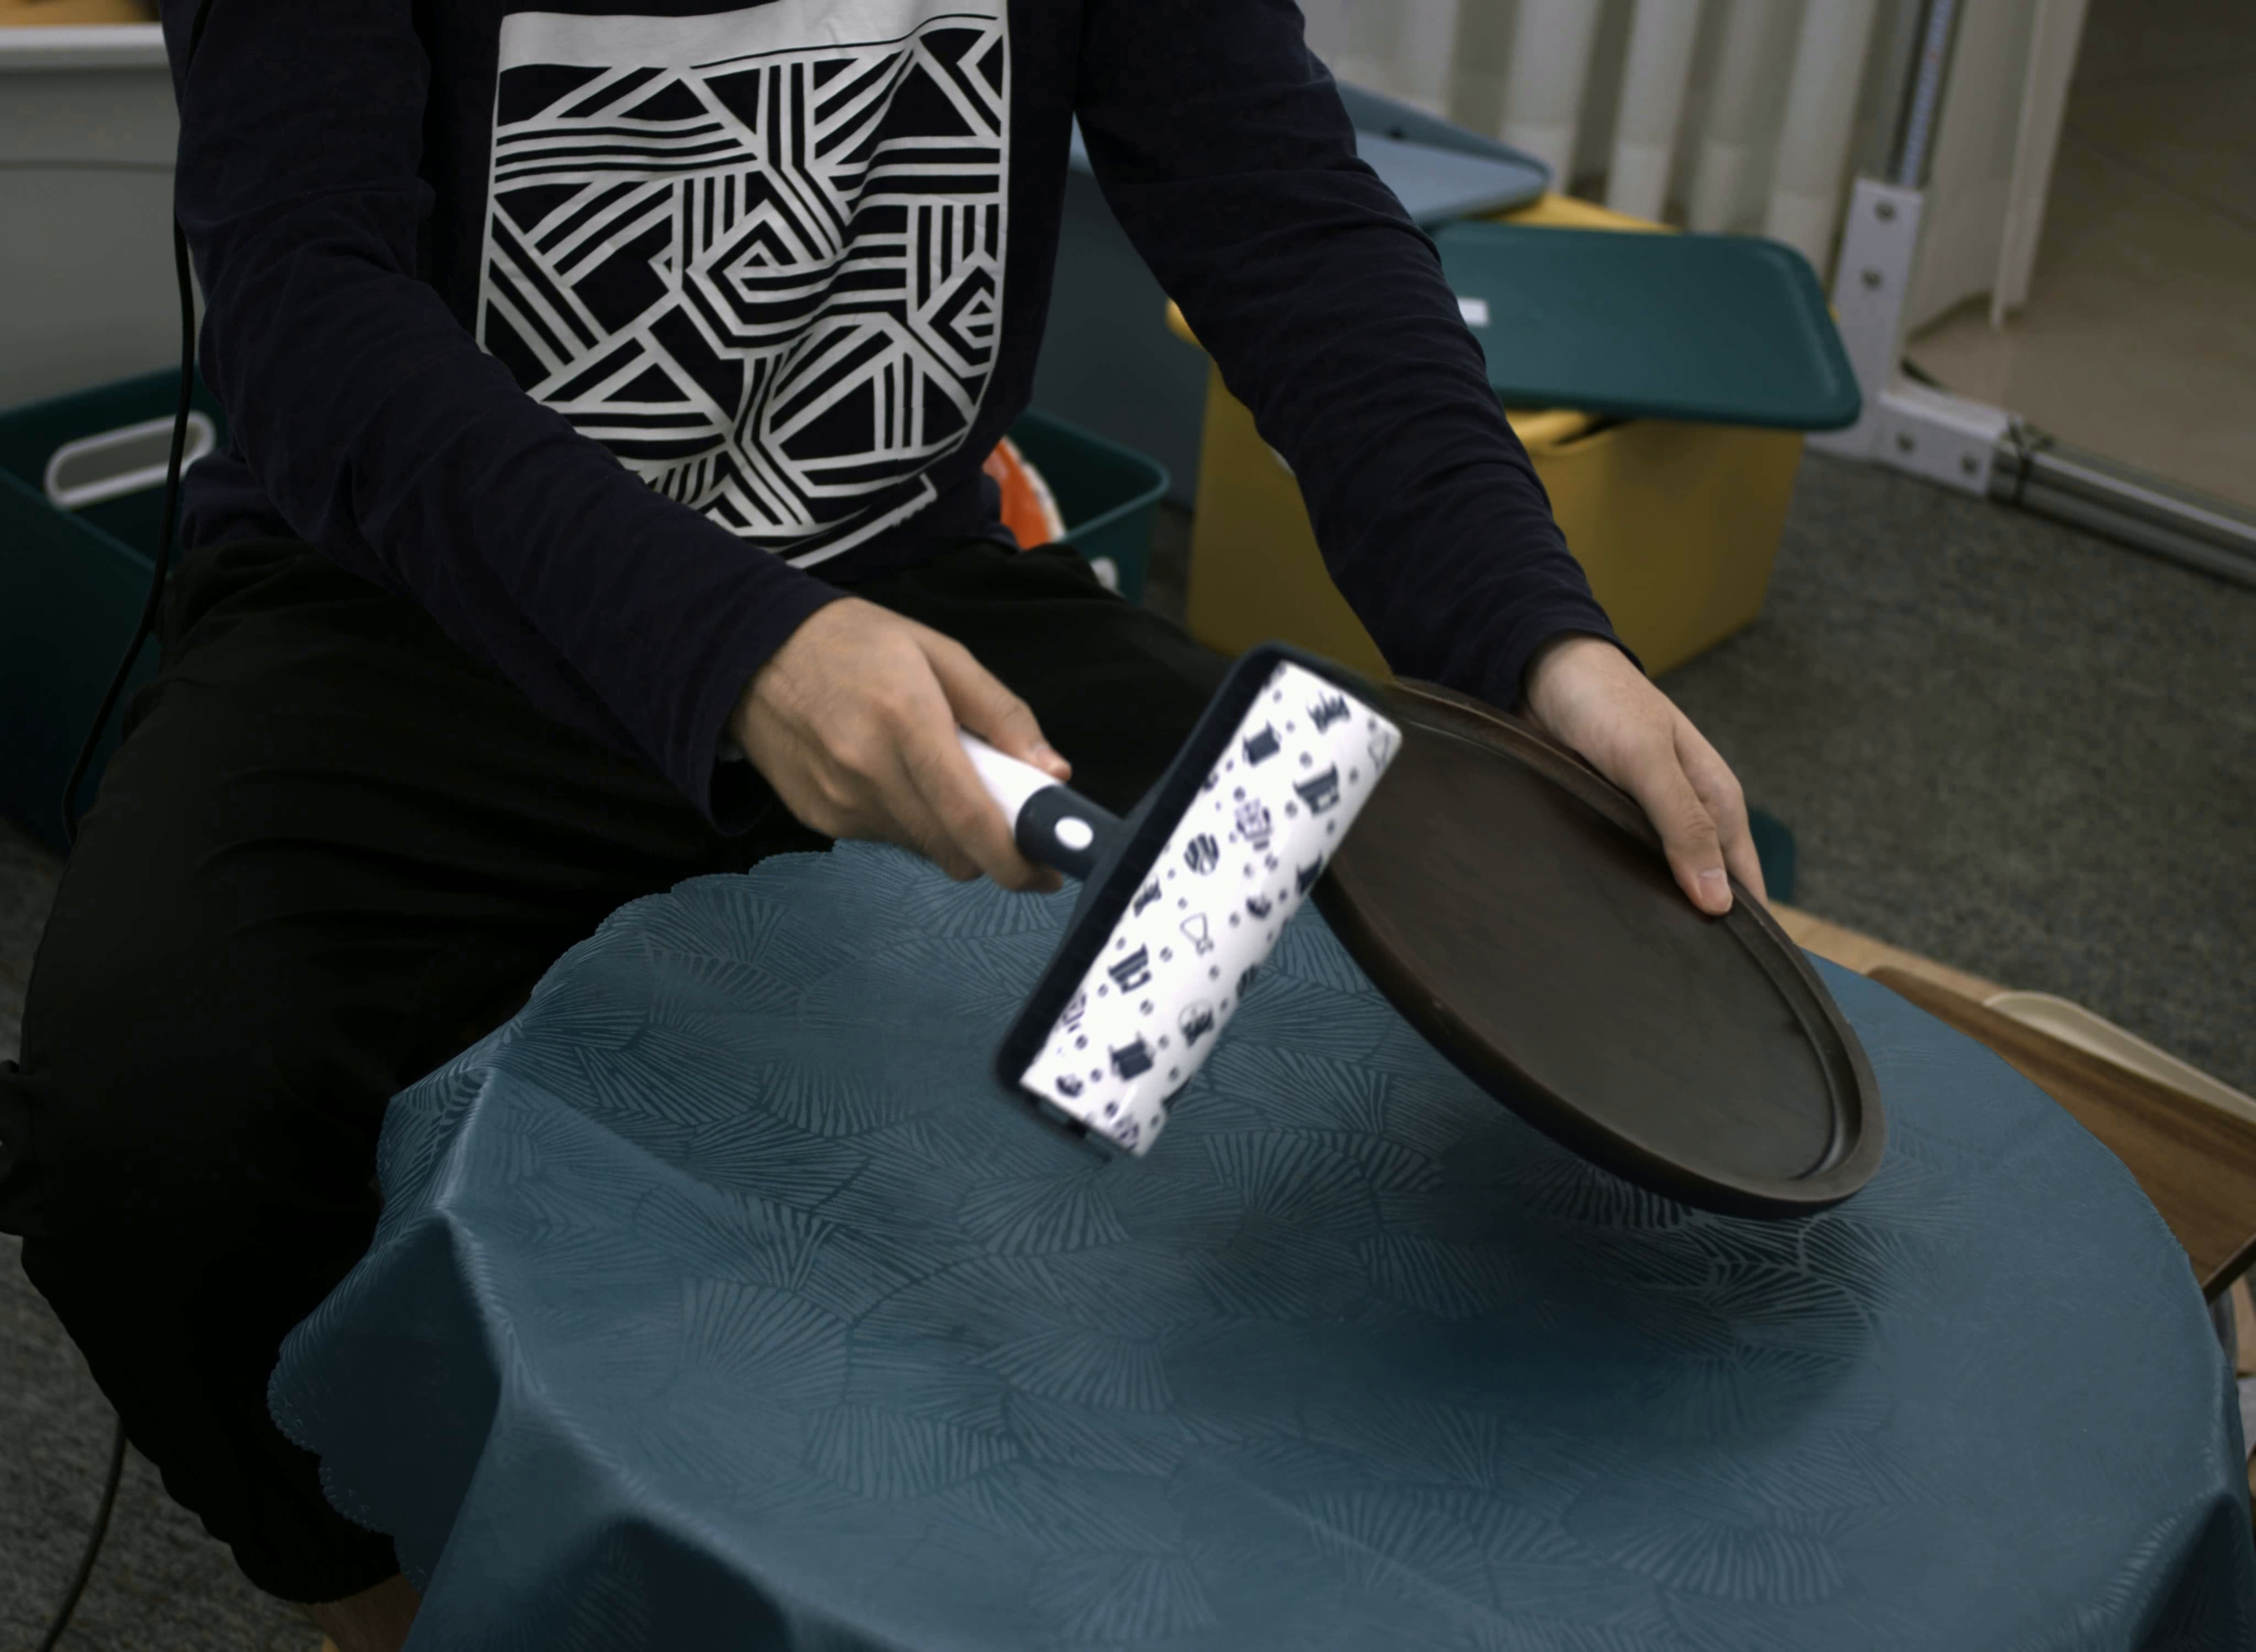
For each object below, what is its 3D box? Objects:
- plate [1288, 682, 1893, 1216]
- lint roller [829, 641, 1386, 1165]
[{"bbox_3d":[0.151,0.041,1.798,0.253,0.029,0.256,30,24,-15],"label":"plate"},{"bbox_3d":[-0.036,-0.002,1.776,0.050,0.176,0.249,35,-5,-40],"label":"lint roller"}]
